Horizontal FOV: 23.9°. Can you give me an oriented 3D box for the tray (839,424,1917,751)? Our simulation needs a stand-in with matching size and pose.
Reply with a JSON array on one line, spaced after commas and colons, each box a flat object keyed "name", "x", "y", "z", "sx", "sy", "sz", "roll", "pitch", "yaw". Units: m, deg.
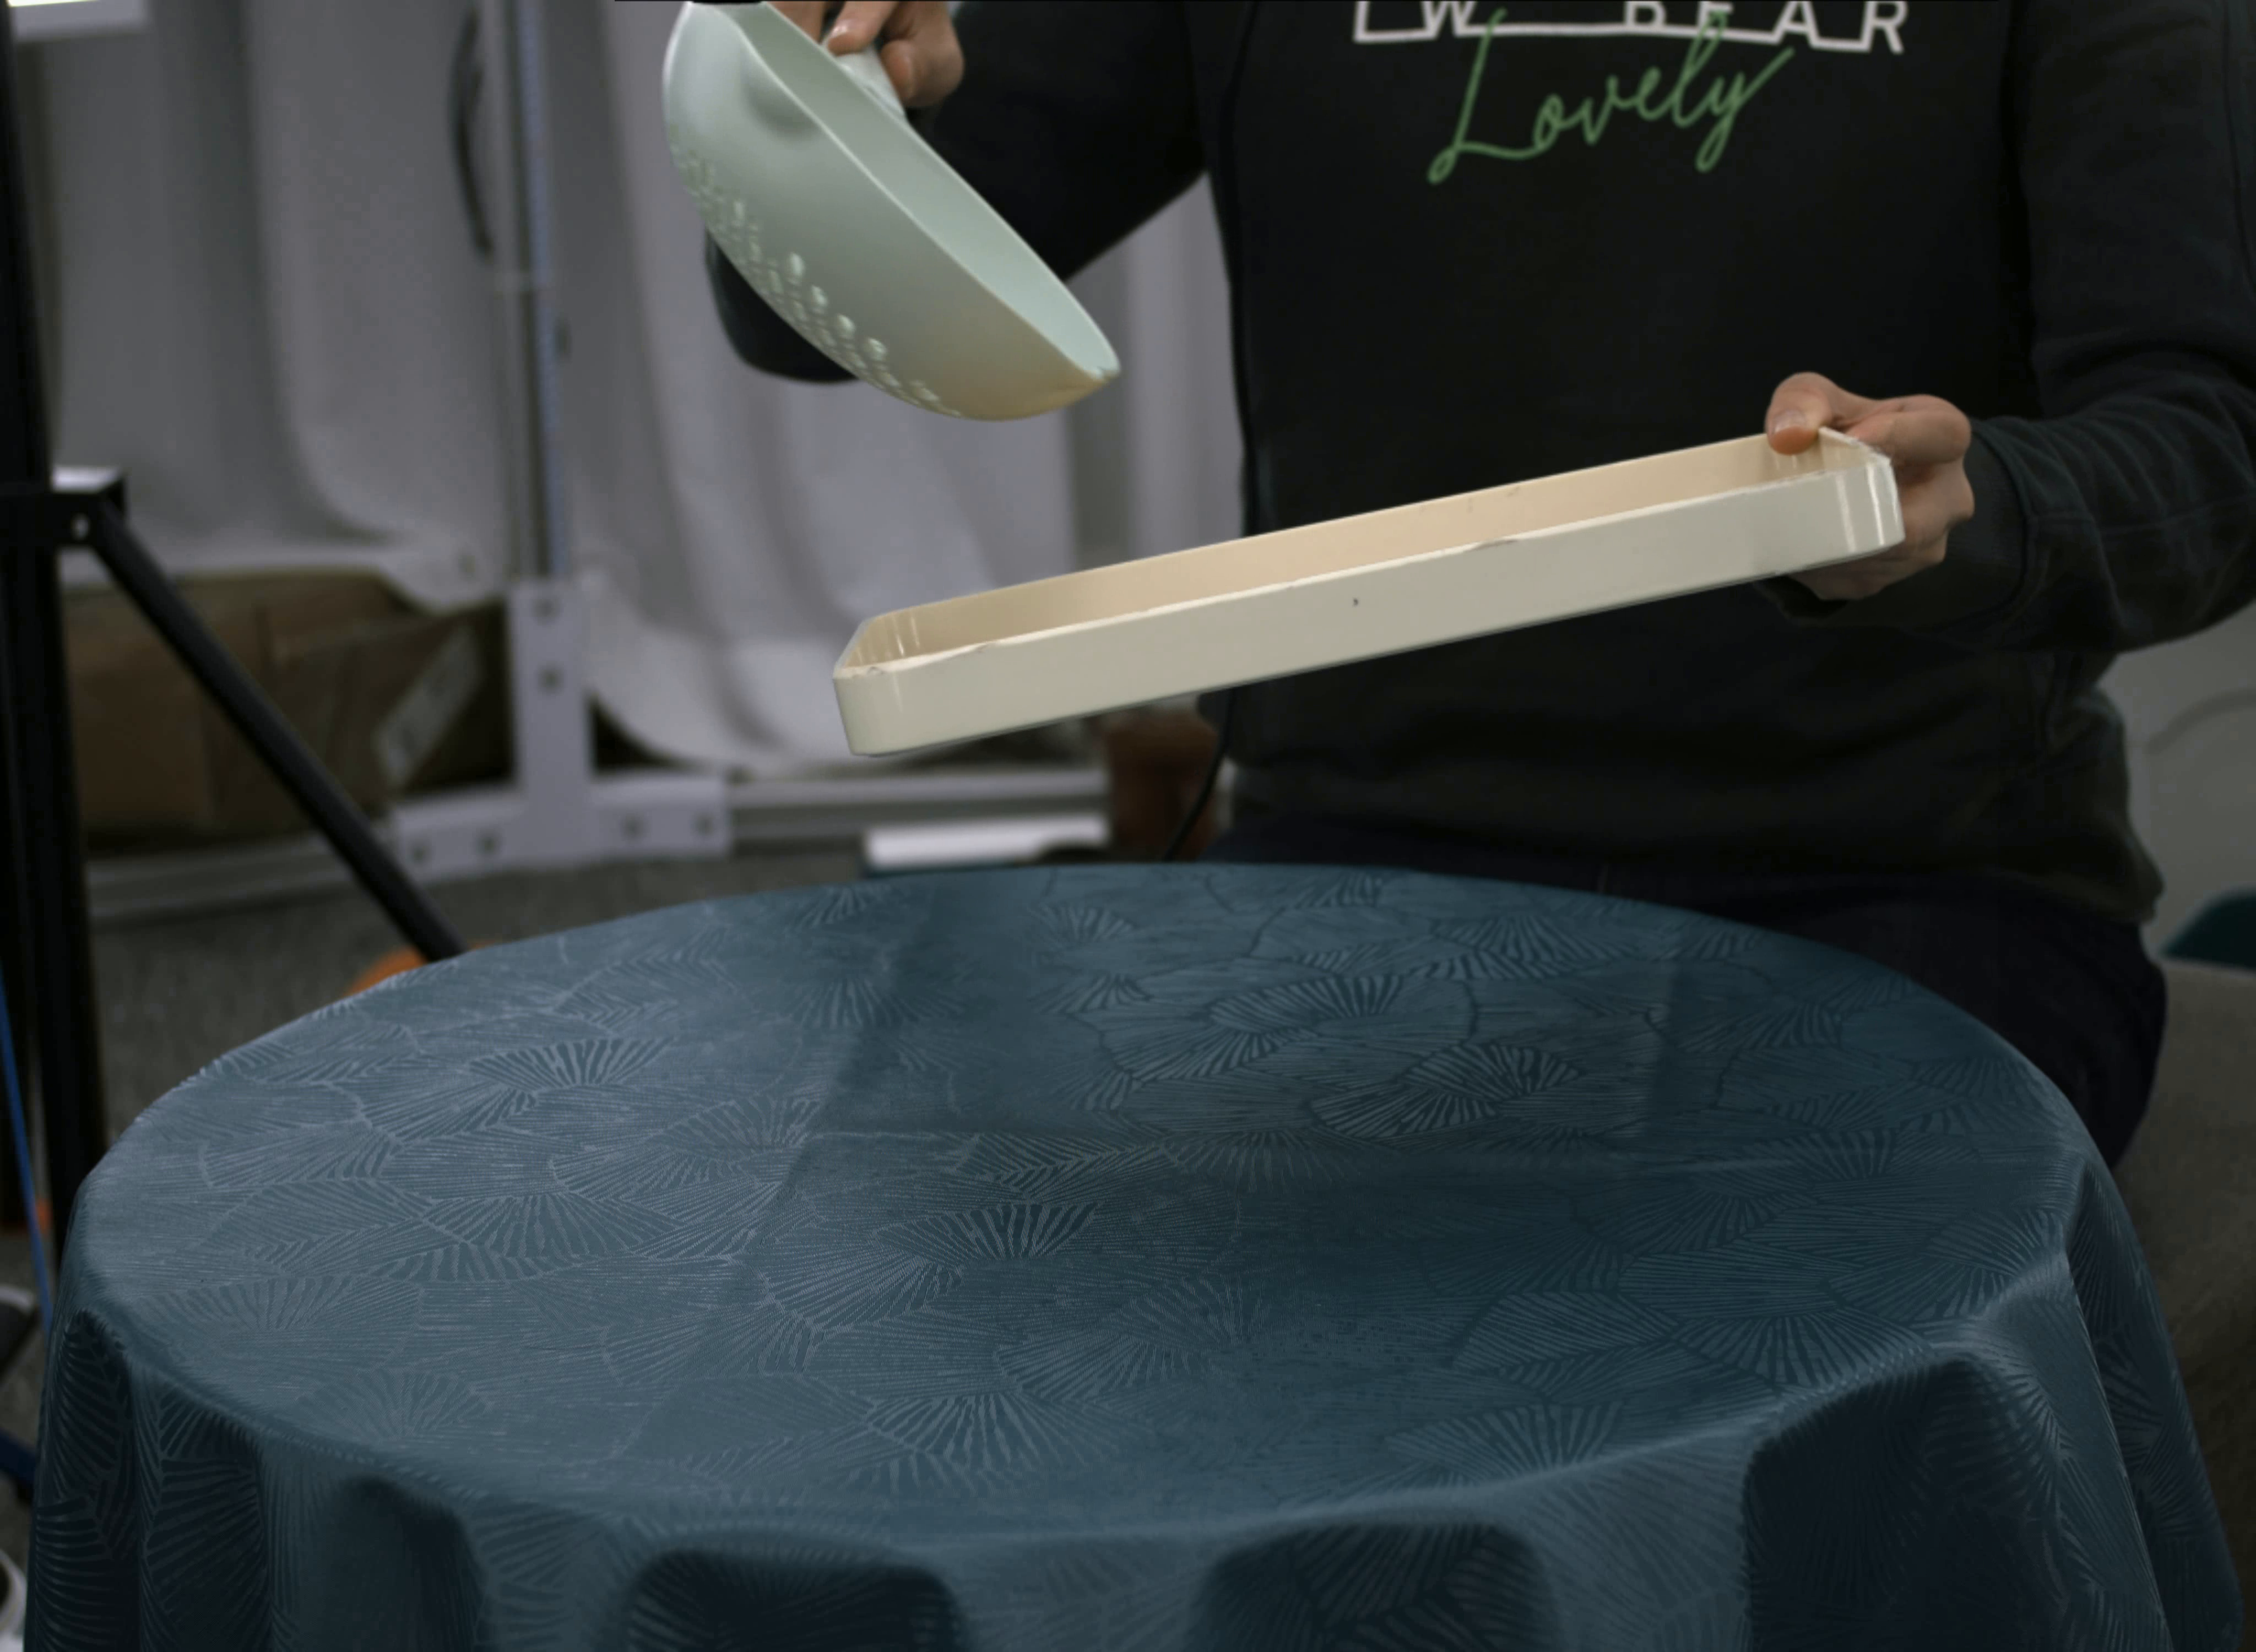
[{"name": "tray", "x": 0.069, "y": -0.070, "z": 1.537, "sx": 0.300, "sy": 0.027, "sz": 0.191, "roll": -11, "pitch": 7, "yaw": 3}]

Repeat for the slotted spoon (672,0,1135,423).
[{"name": "slotted spoon", "x": -0.082, "y": -0.214, "z": 1.666, "sx": 0.076, "sy": 0.167, "sz": 0.361, "roll": -43, "pitch": 19, "yaw": 15}]
